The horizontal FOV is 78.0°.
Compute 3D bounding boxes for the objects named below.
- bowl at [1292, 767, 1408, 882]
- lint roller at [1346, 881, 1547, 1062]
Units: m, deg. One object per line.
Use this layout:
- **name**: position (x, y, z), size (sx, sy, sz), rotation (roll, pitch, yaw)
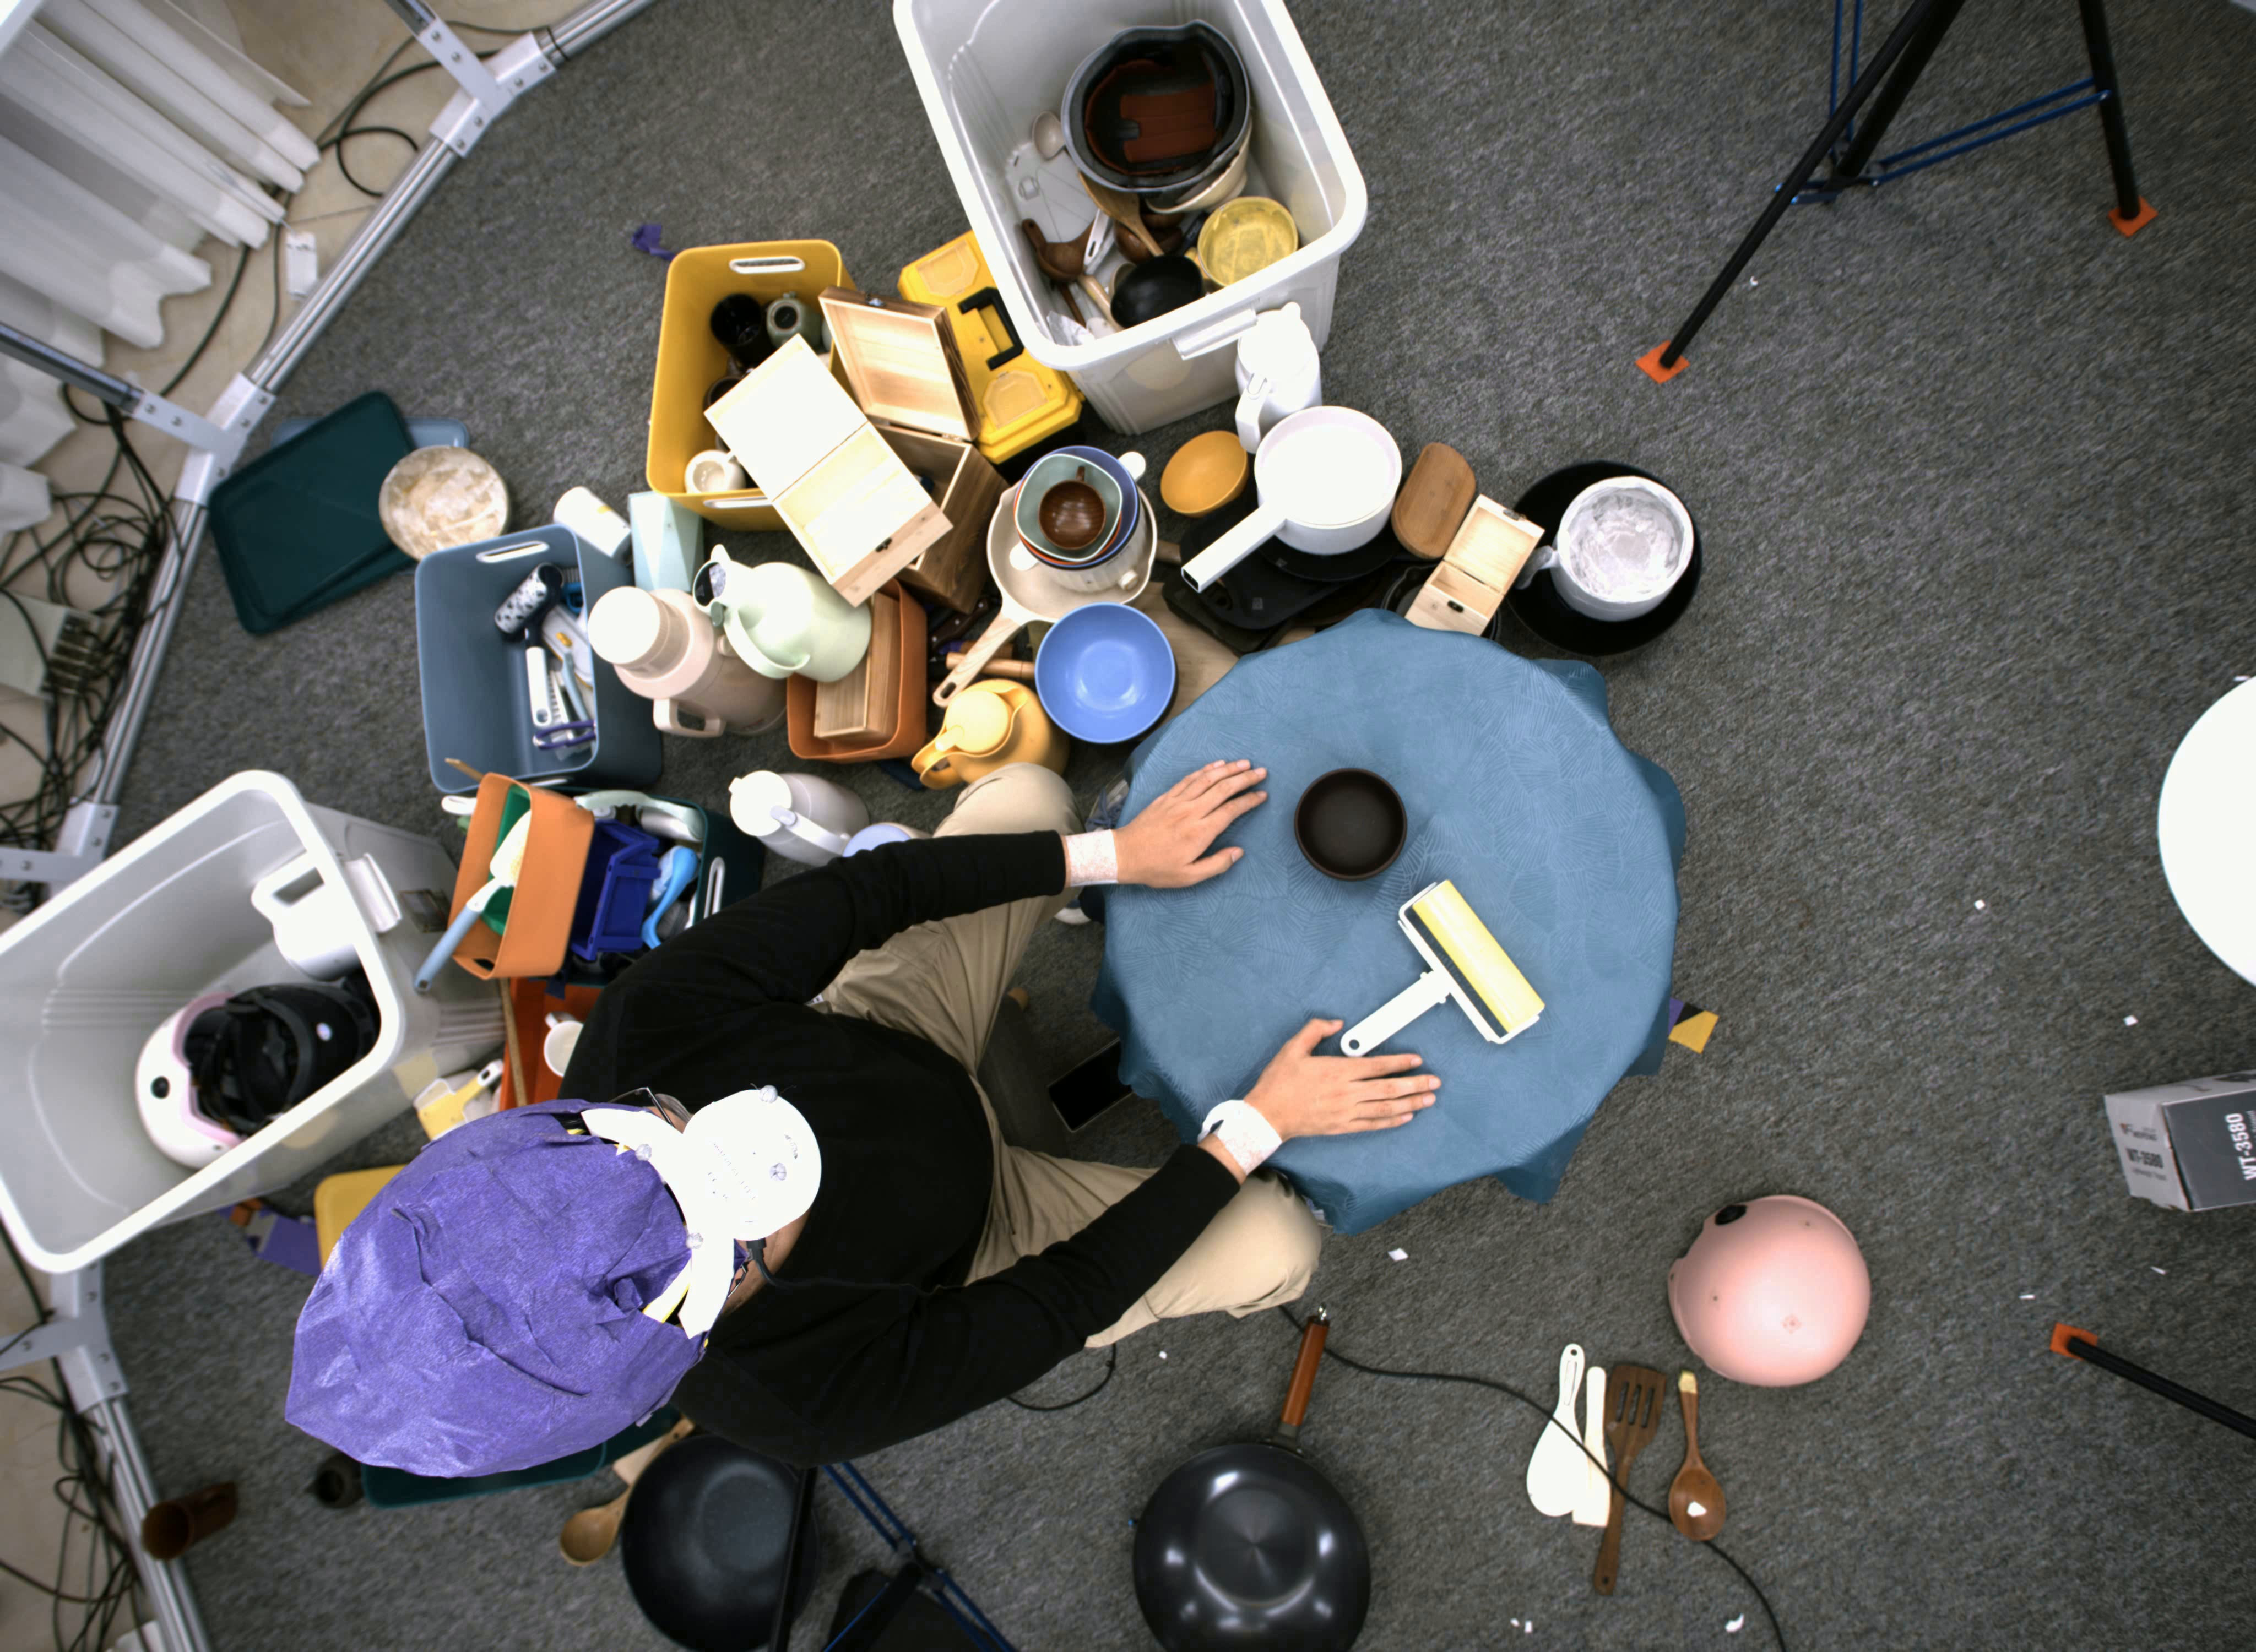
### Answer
- **bowl**: position (0.230, 0.000, 1.434), size (0.118, 0.070, 0.117), rotation (-1, 85, 9)
- **lint roller**: position (0.304, 0.176, 1.421), size (0.192, 0.051, 0.173), rotation (-38, 81, 1)
